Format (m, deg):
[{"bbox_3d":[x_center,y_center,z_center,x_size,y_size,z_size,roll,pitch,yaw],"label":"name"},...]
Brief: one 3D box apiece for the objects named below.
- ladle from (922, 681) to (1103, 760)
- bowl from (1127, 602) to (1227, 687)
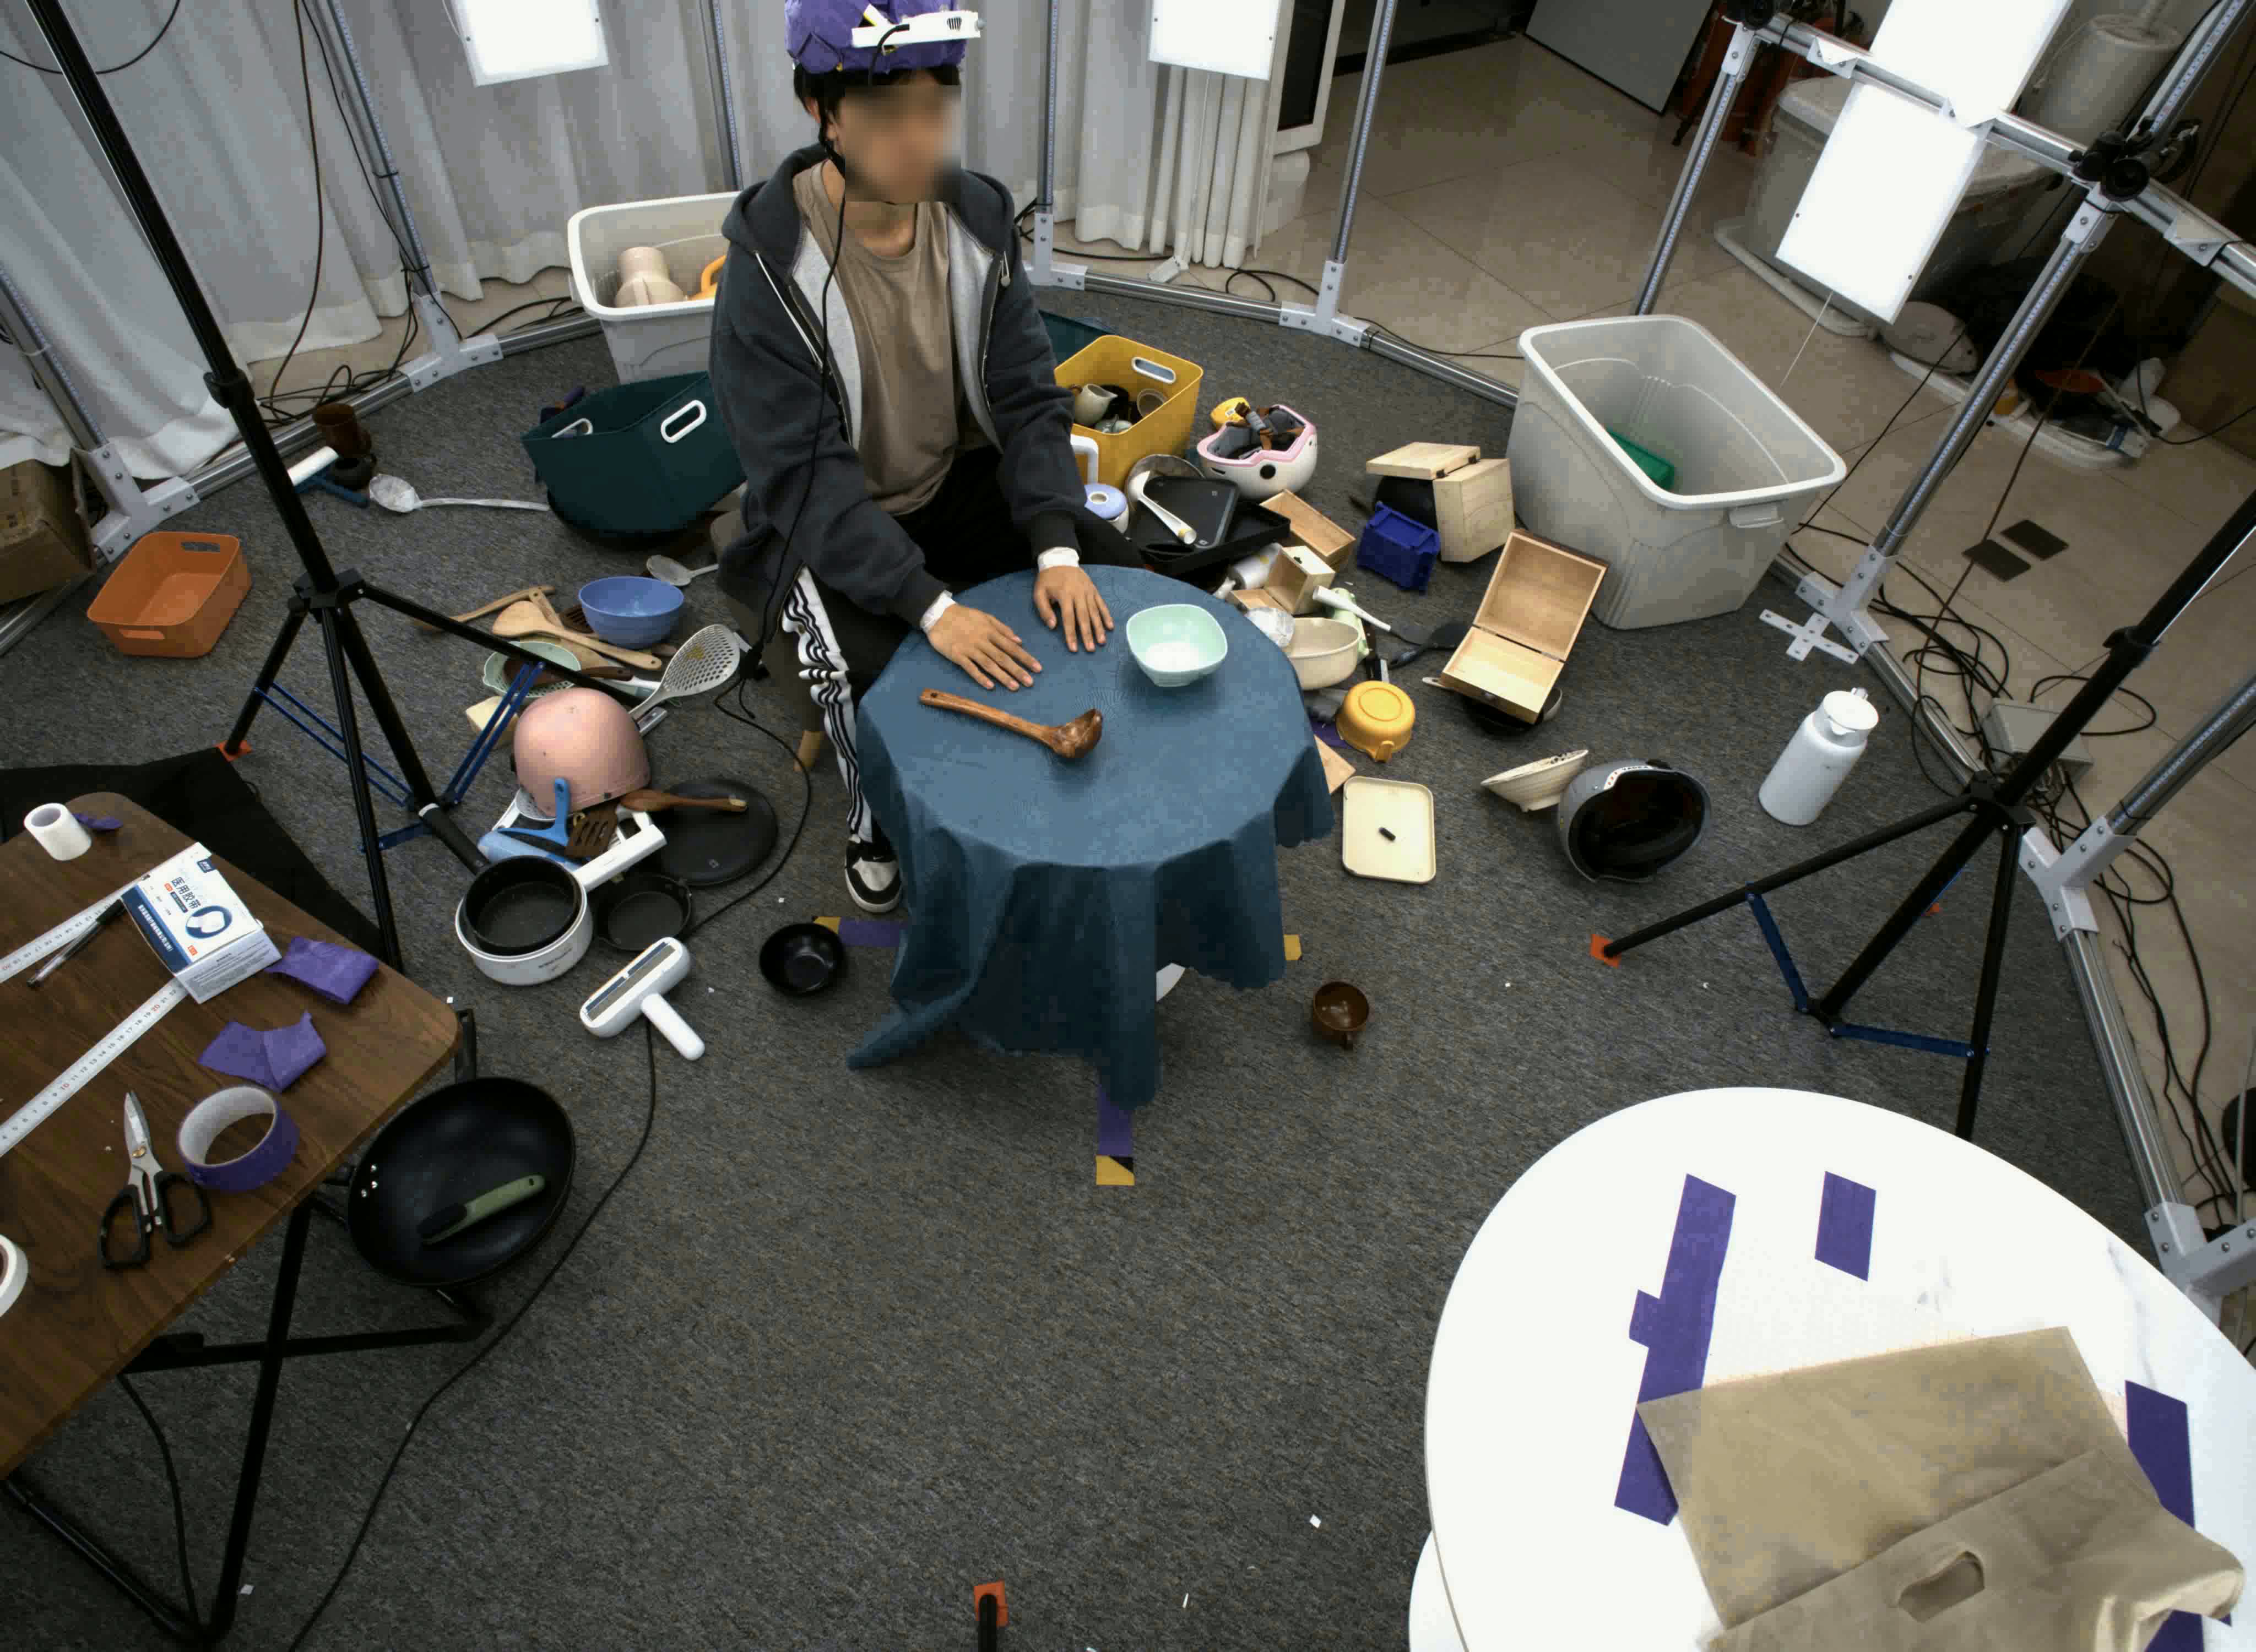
[{"bbox_3d":[-0.163,-0.160,1.743,0.276,0.075,0.083,22,55,14],"label":"ladle"},{"bbox_3d":[0.068,-0.253,1.853,0.151,0.057,0.155,2,51,-3],"label":"bowl"}]
